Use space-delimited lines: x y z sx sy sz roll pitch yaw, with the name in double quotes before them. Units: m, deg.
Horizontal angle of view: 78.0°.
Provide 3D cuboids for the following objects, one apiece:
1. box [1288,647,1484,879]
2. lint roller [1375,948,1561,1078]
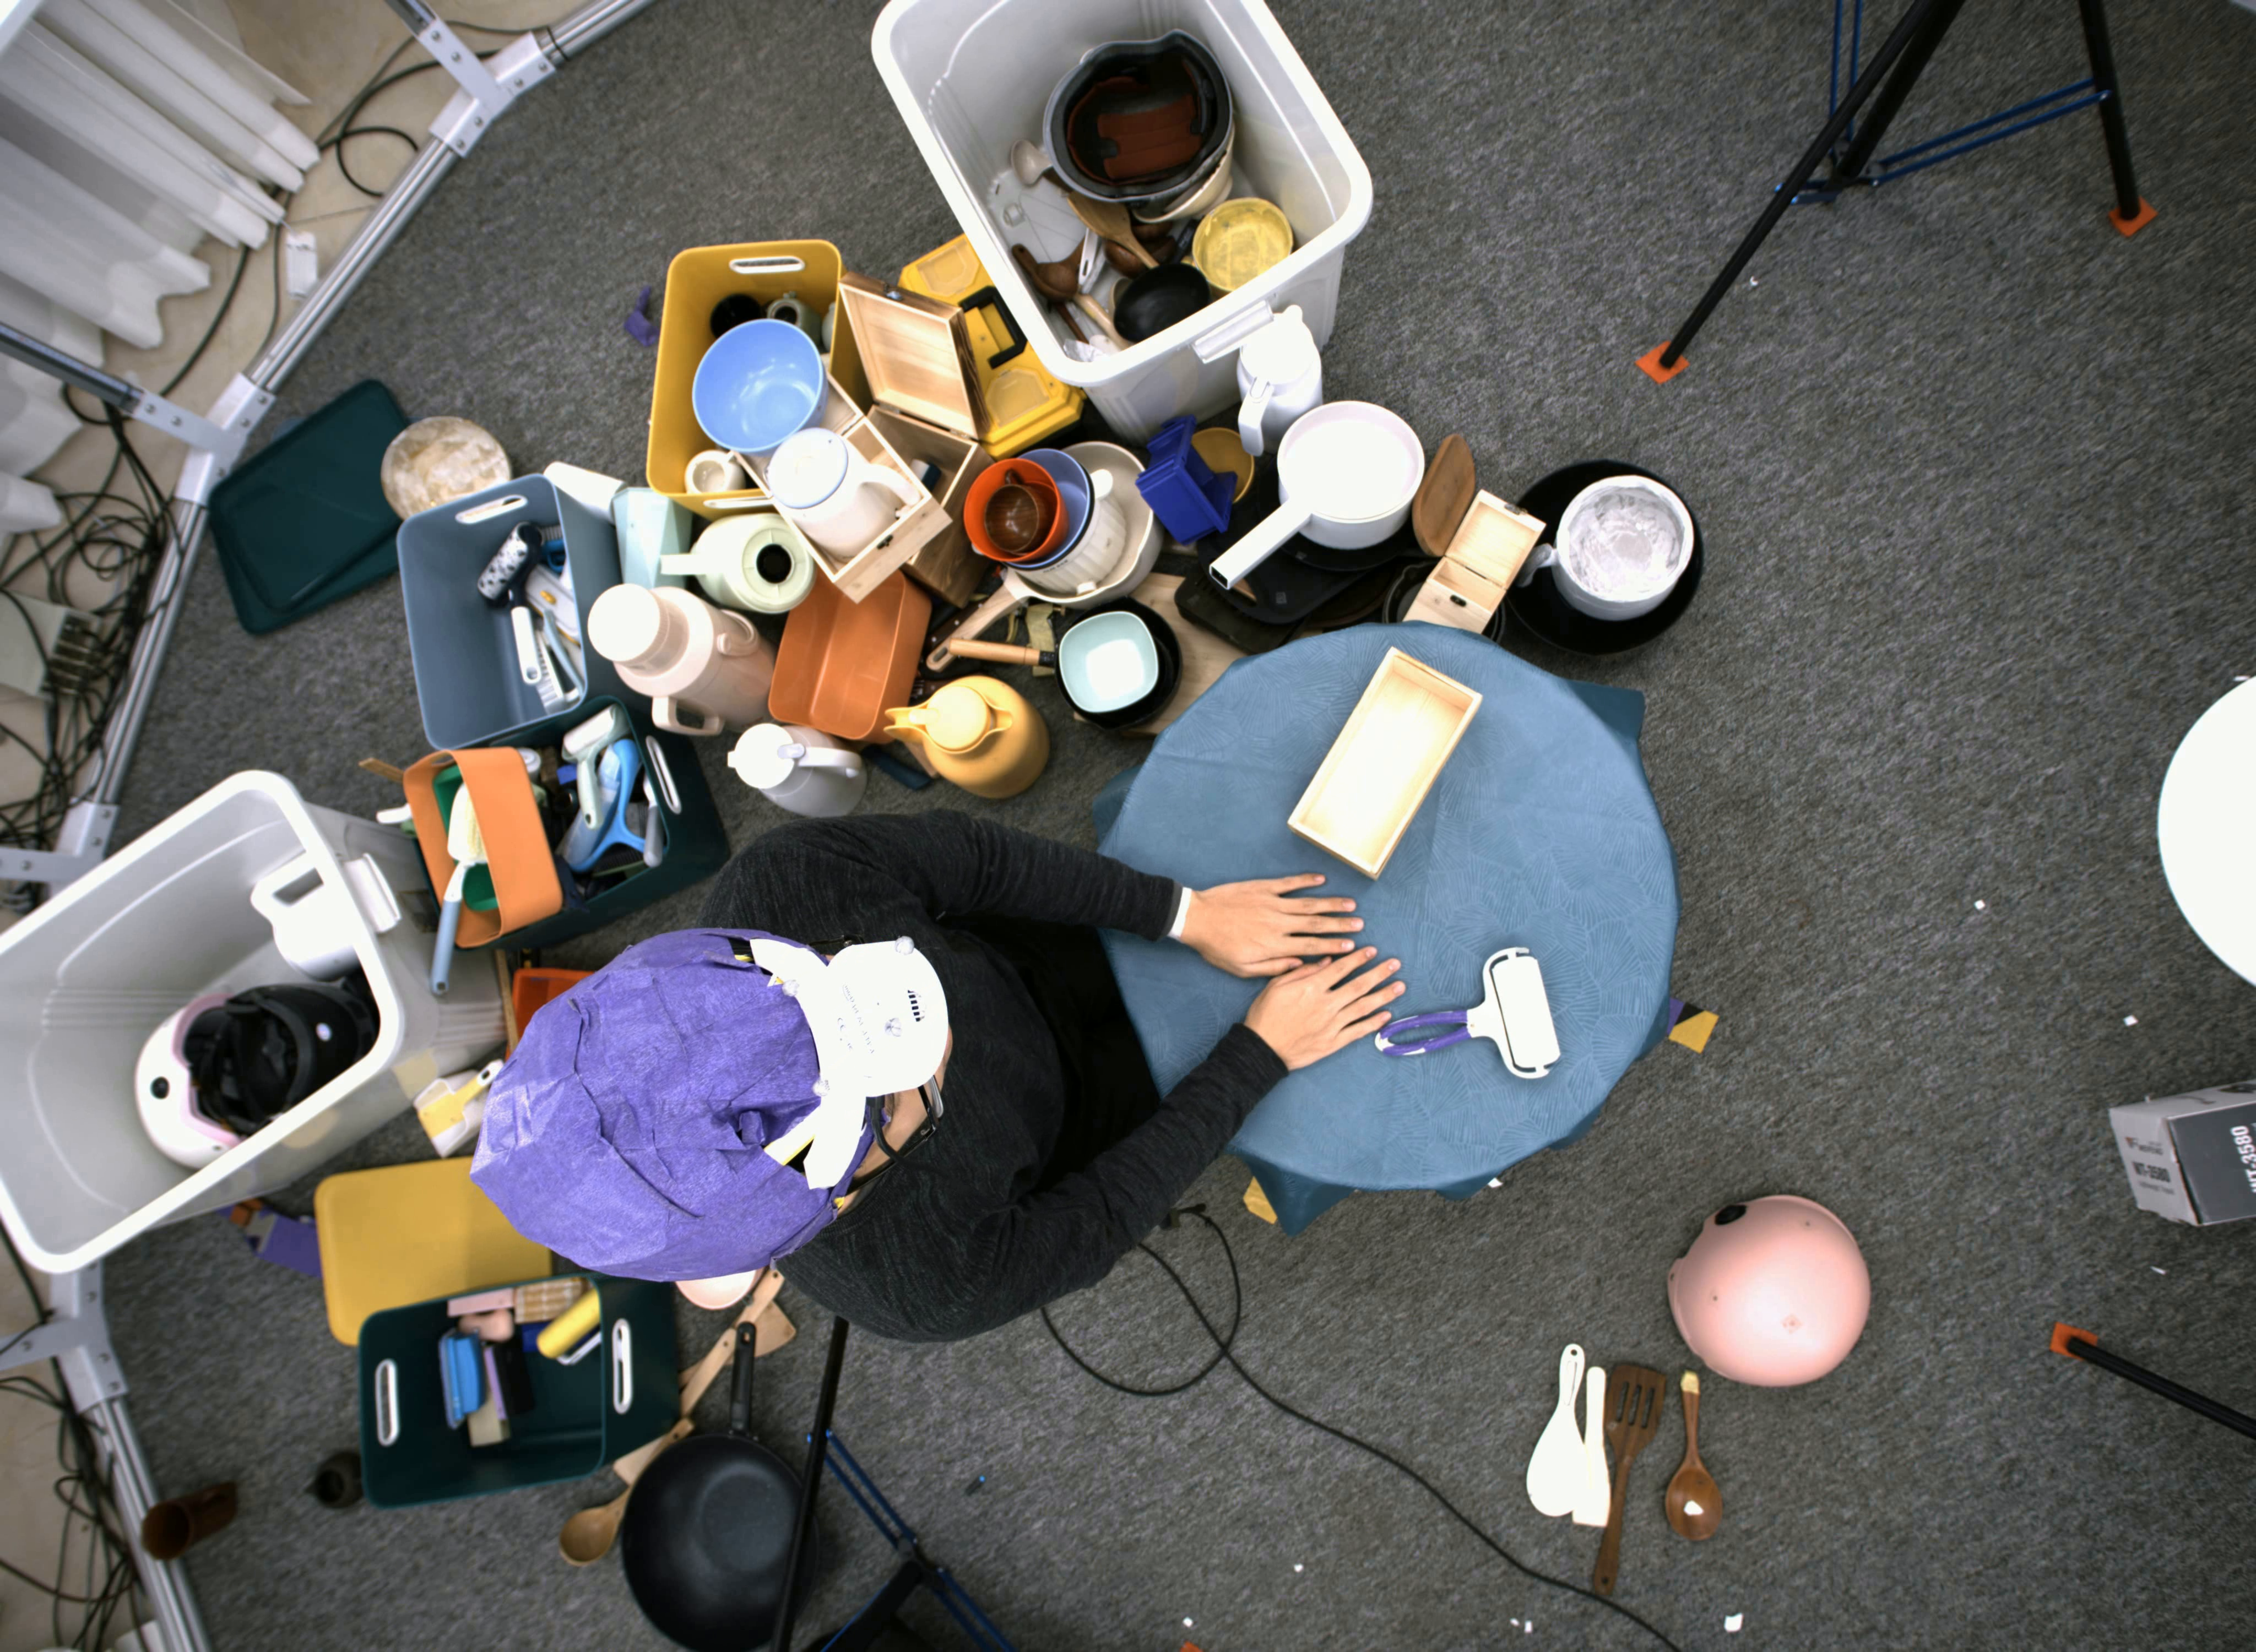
"box" 0.267 -0.064 1.428 0.107 0.080 0.212 31 93 11
"lint roller" 0.343 0.201 1.416 0.181 0.050 0.132 -12 86 8
